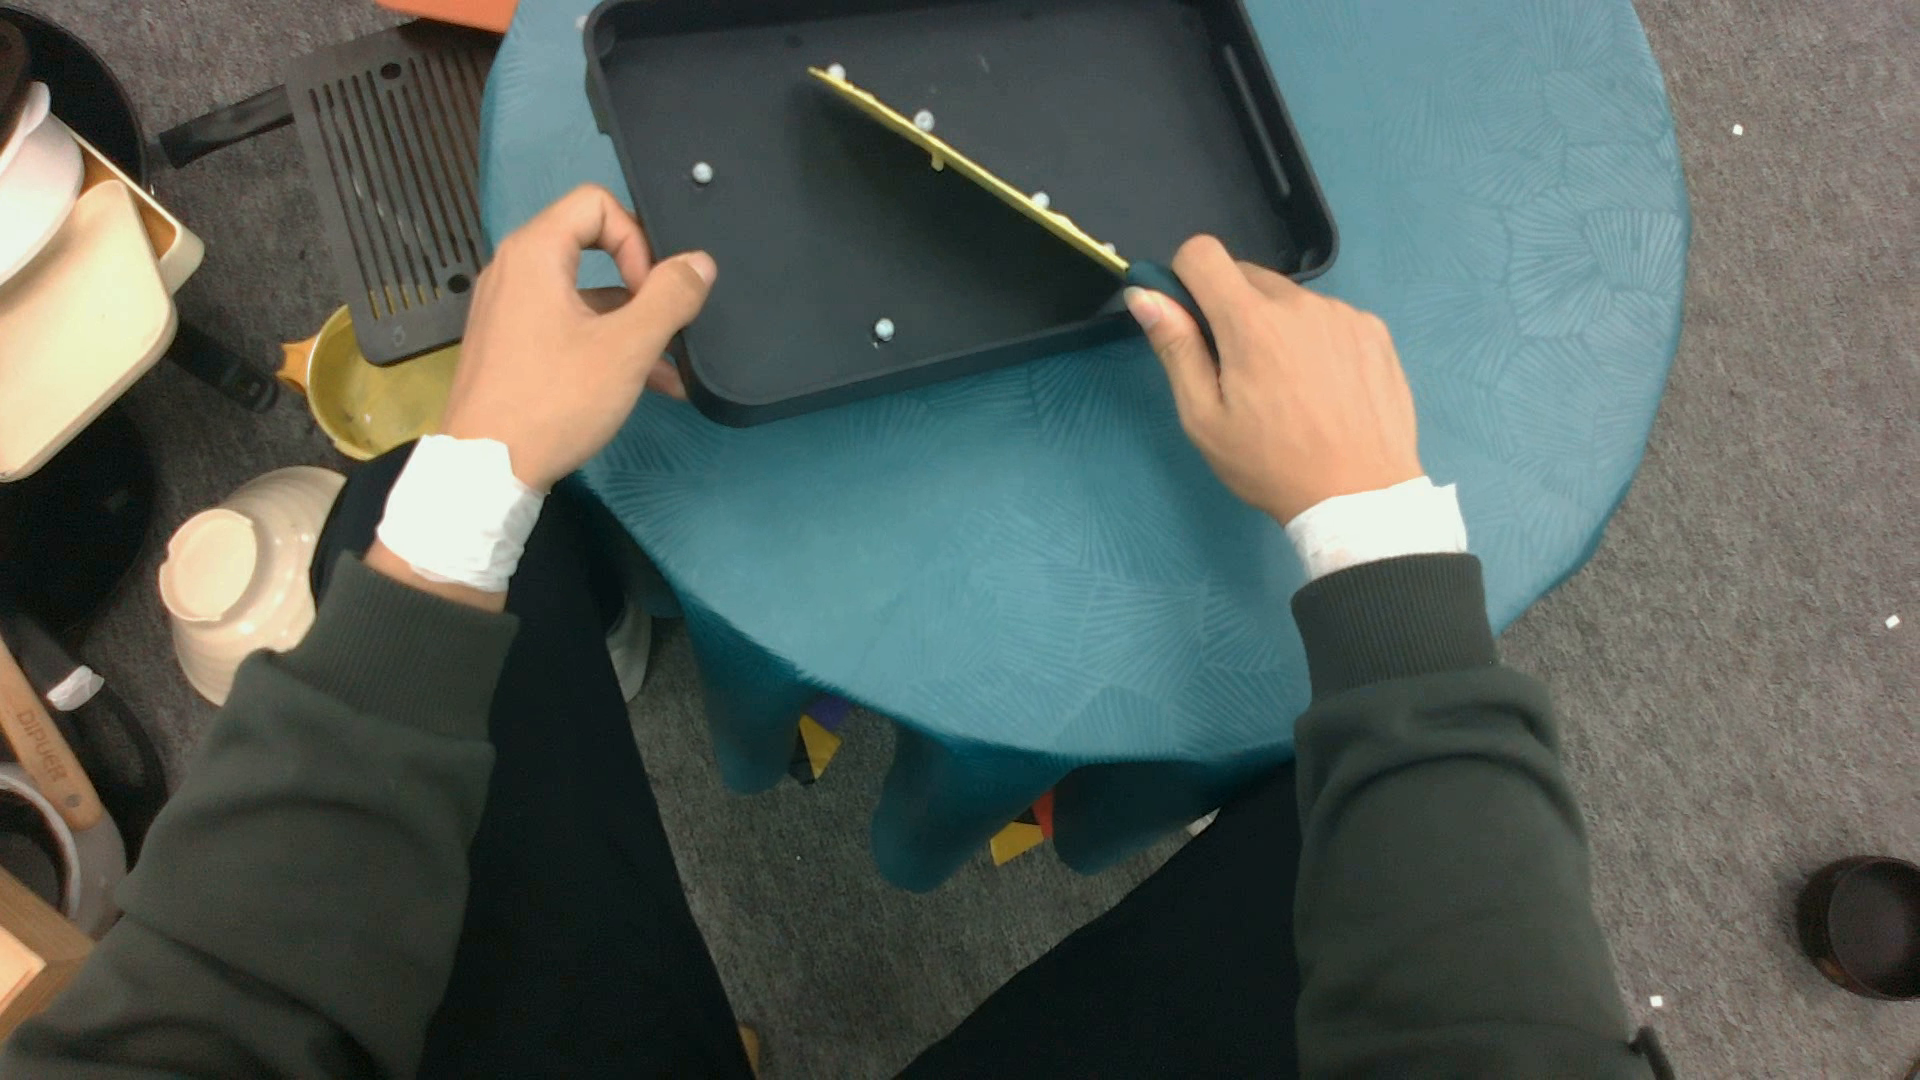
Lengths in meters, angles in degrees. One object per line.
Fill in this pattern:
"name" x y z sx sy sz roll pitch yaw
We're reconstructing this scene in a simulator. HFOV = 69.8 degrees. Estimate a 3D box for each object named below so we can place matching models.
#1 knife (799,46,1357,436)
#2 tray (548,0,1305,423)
"knife" 0.051 -0.132 0.603 0.289 0.081 0.027 33 99 -6
"tray" -0.005 -0.173 0.616 0.319 0.037 0.184 -18 82 -24
